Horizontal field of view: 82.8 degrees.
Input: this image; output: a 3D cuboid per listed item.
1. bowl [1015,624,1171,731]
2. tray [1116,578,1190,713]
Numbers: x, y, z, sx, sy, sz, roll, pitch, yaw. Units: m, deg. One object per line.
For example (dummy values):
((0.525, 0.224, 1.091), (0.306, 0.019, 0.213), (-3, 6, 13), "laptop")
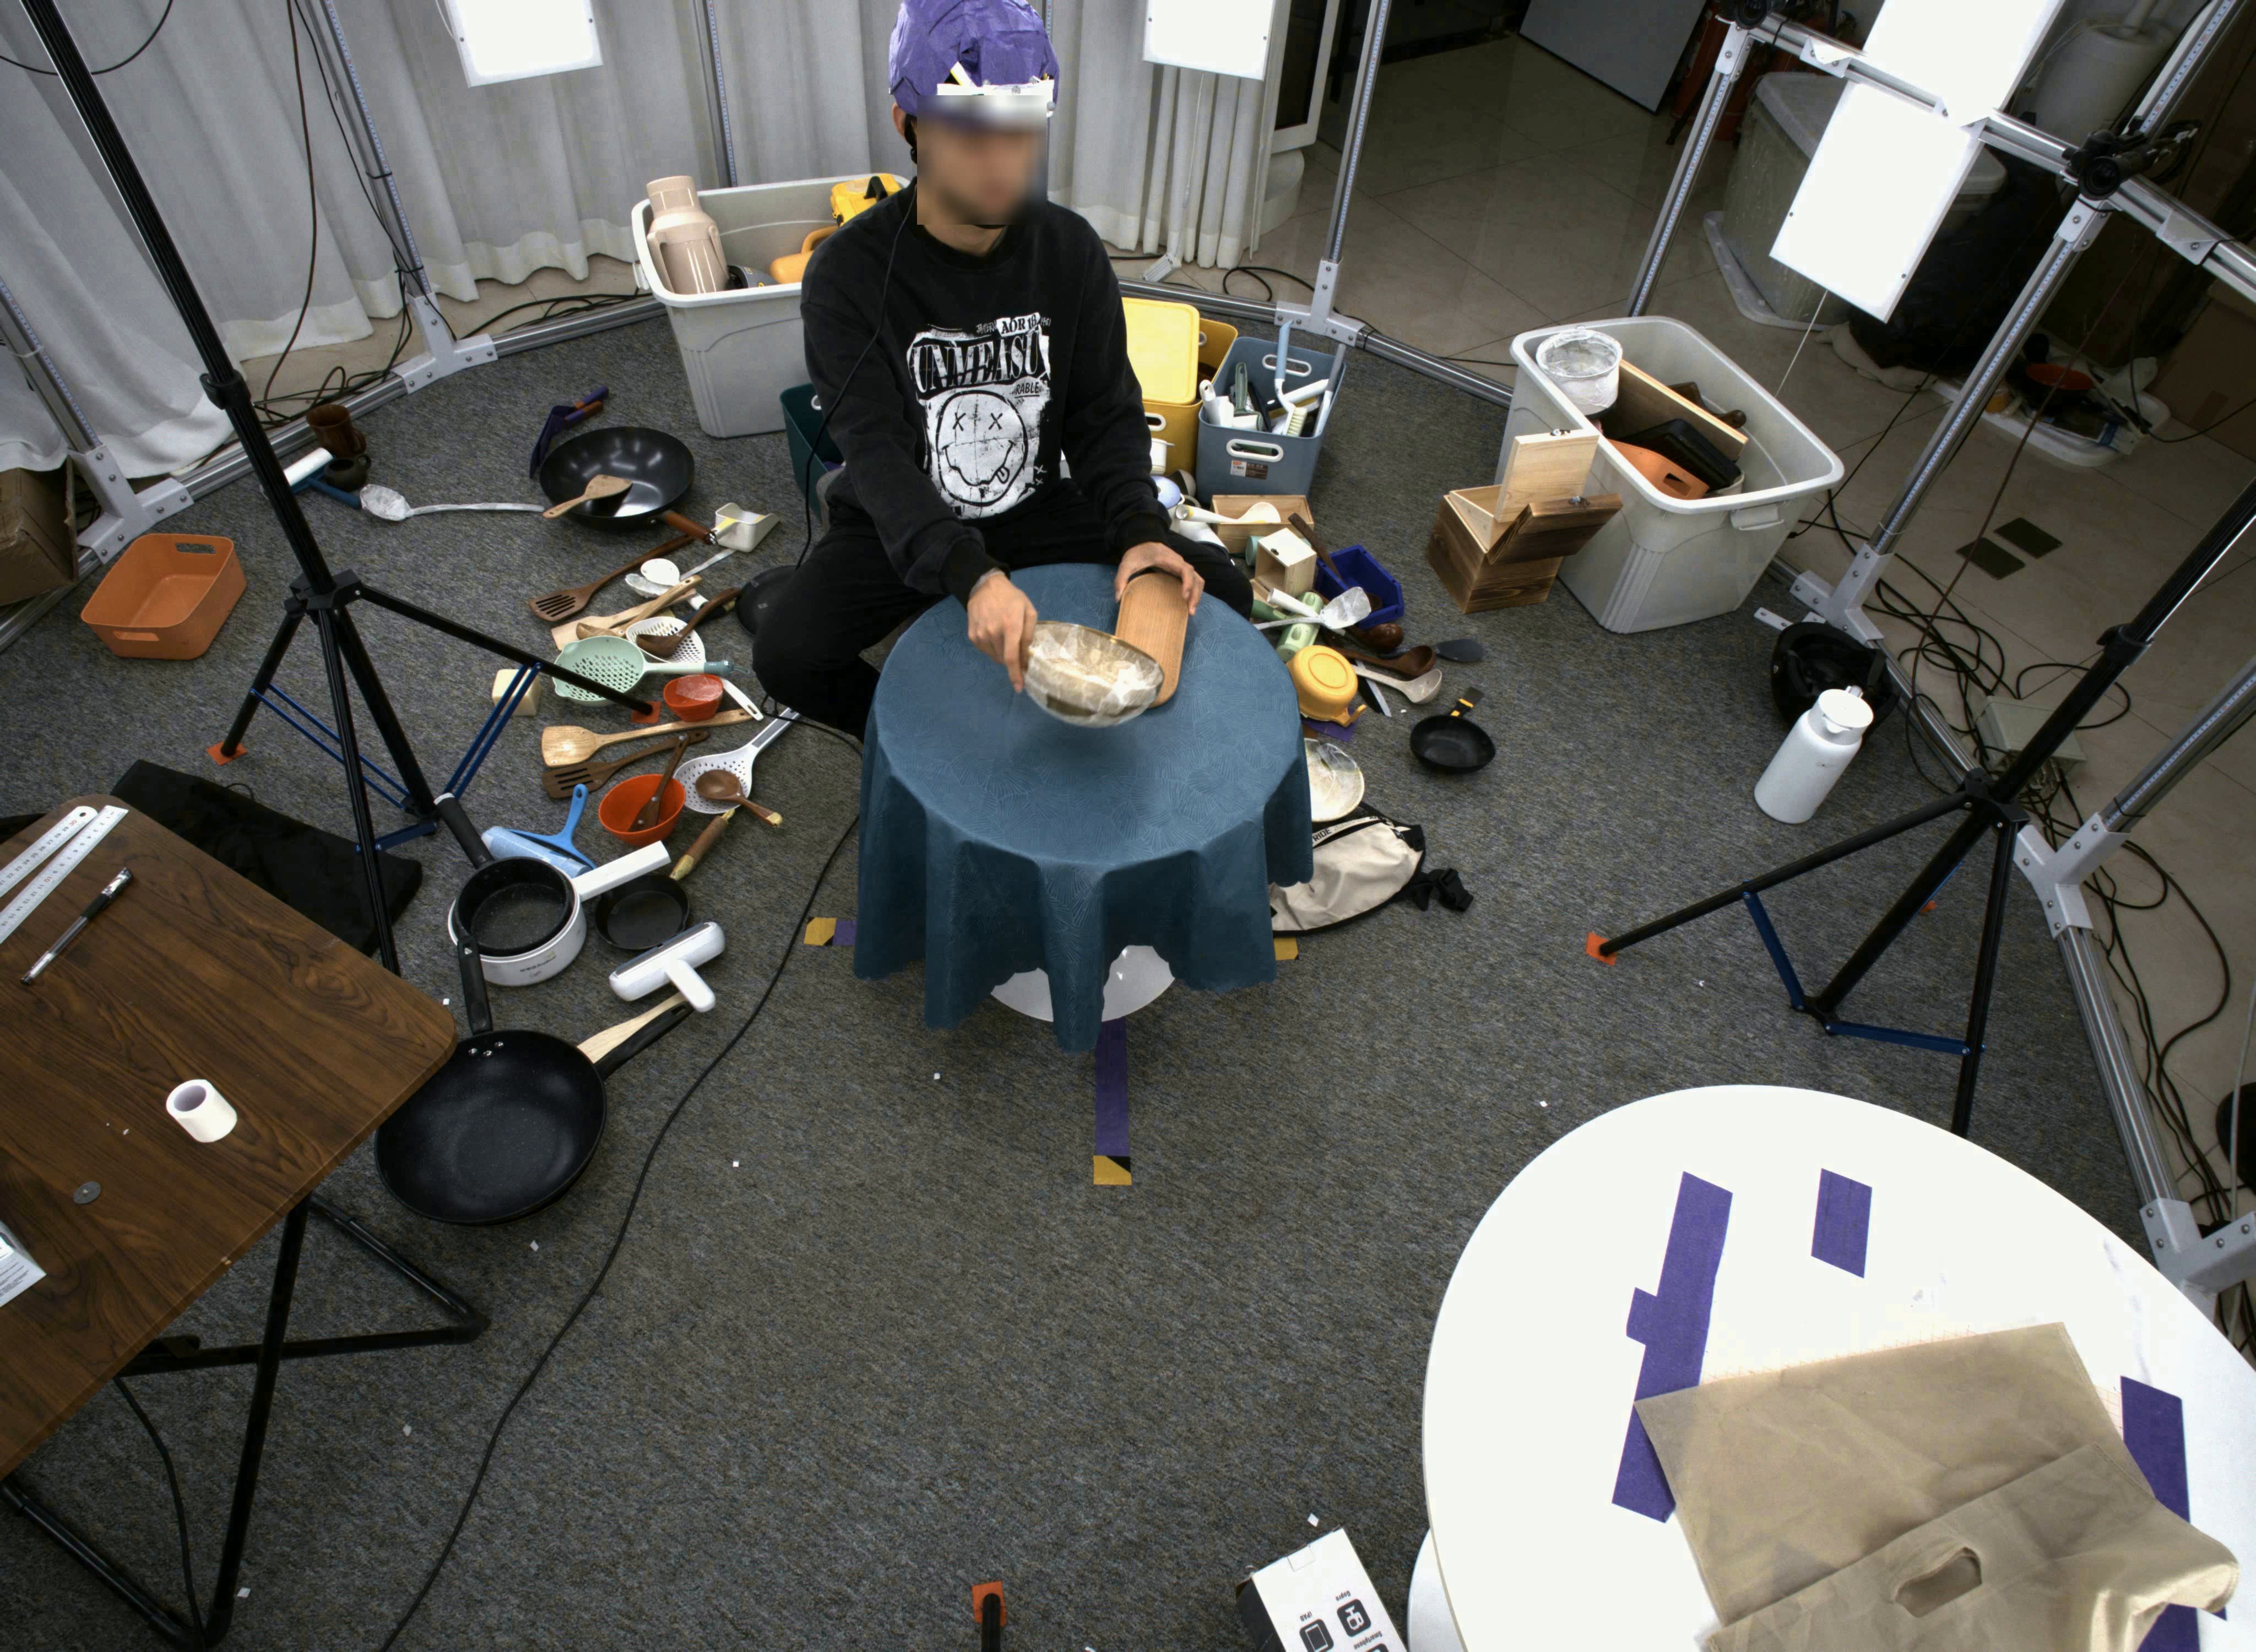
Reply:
((-0.058, -0.186, 1.705), (0.214, 0.093, 0.219), (14, 26, -7), "bowl")
((0.033, -0.266, 1.877), (0.102, 0.020, 0.236), (5, 63, 5), "tray")
